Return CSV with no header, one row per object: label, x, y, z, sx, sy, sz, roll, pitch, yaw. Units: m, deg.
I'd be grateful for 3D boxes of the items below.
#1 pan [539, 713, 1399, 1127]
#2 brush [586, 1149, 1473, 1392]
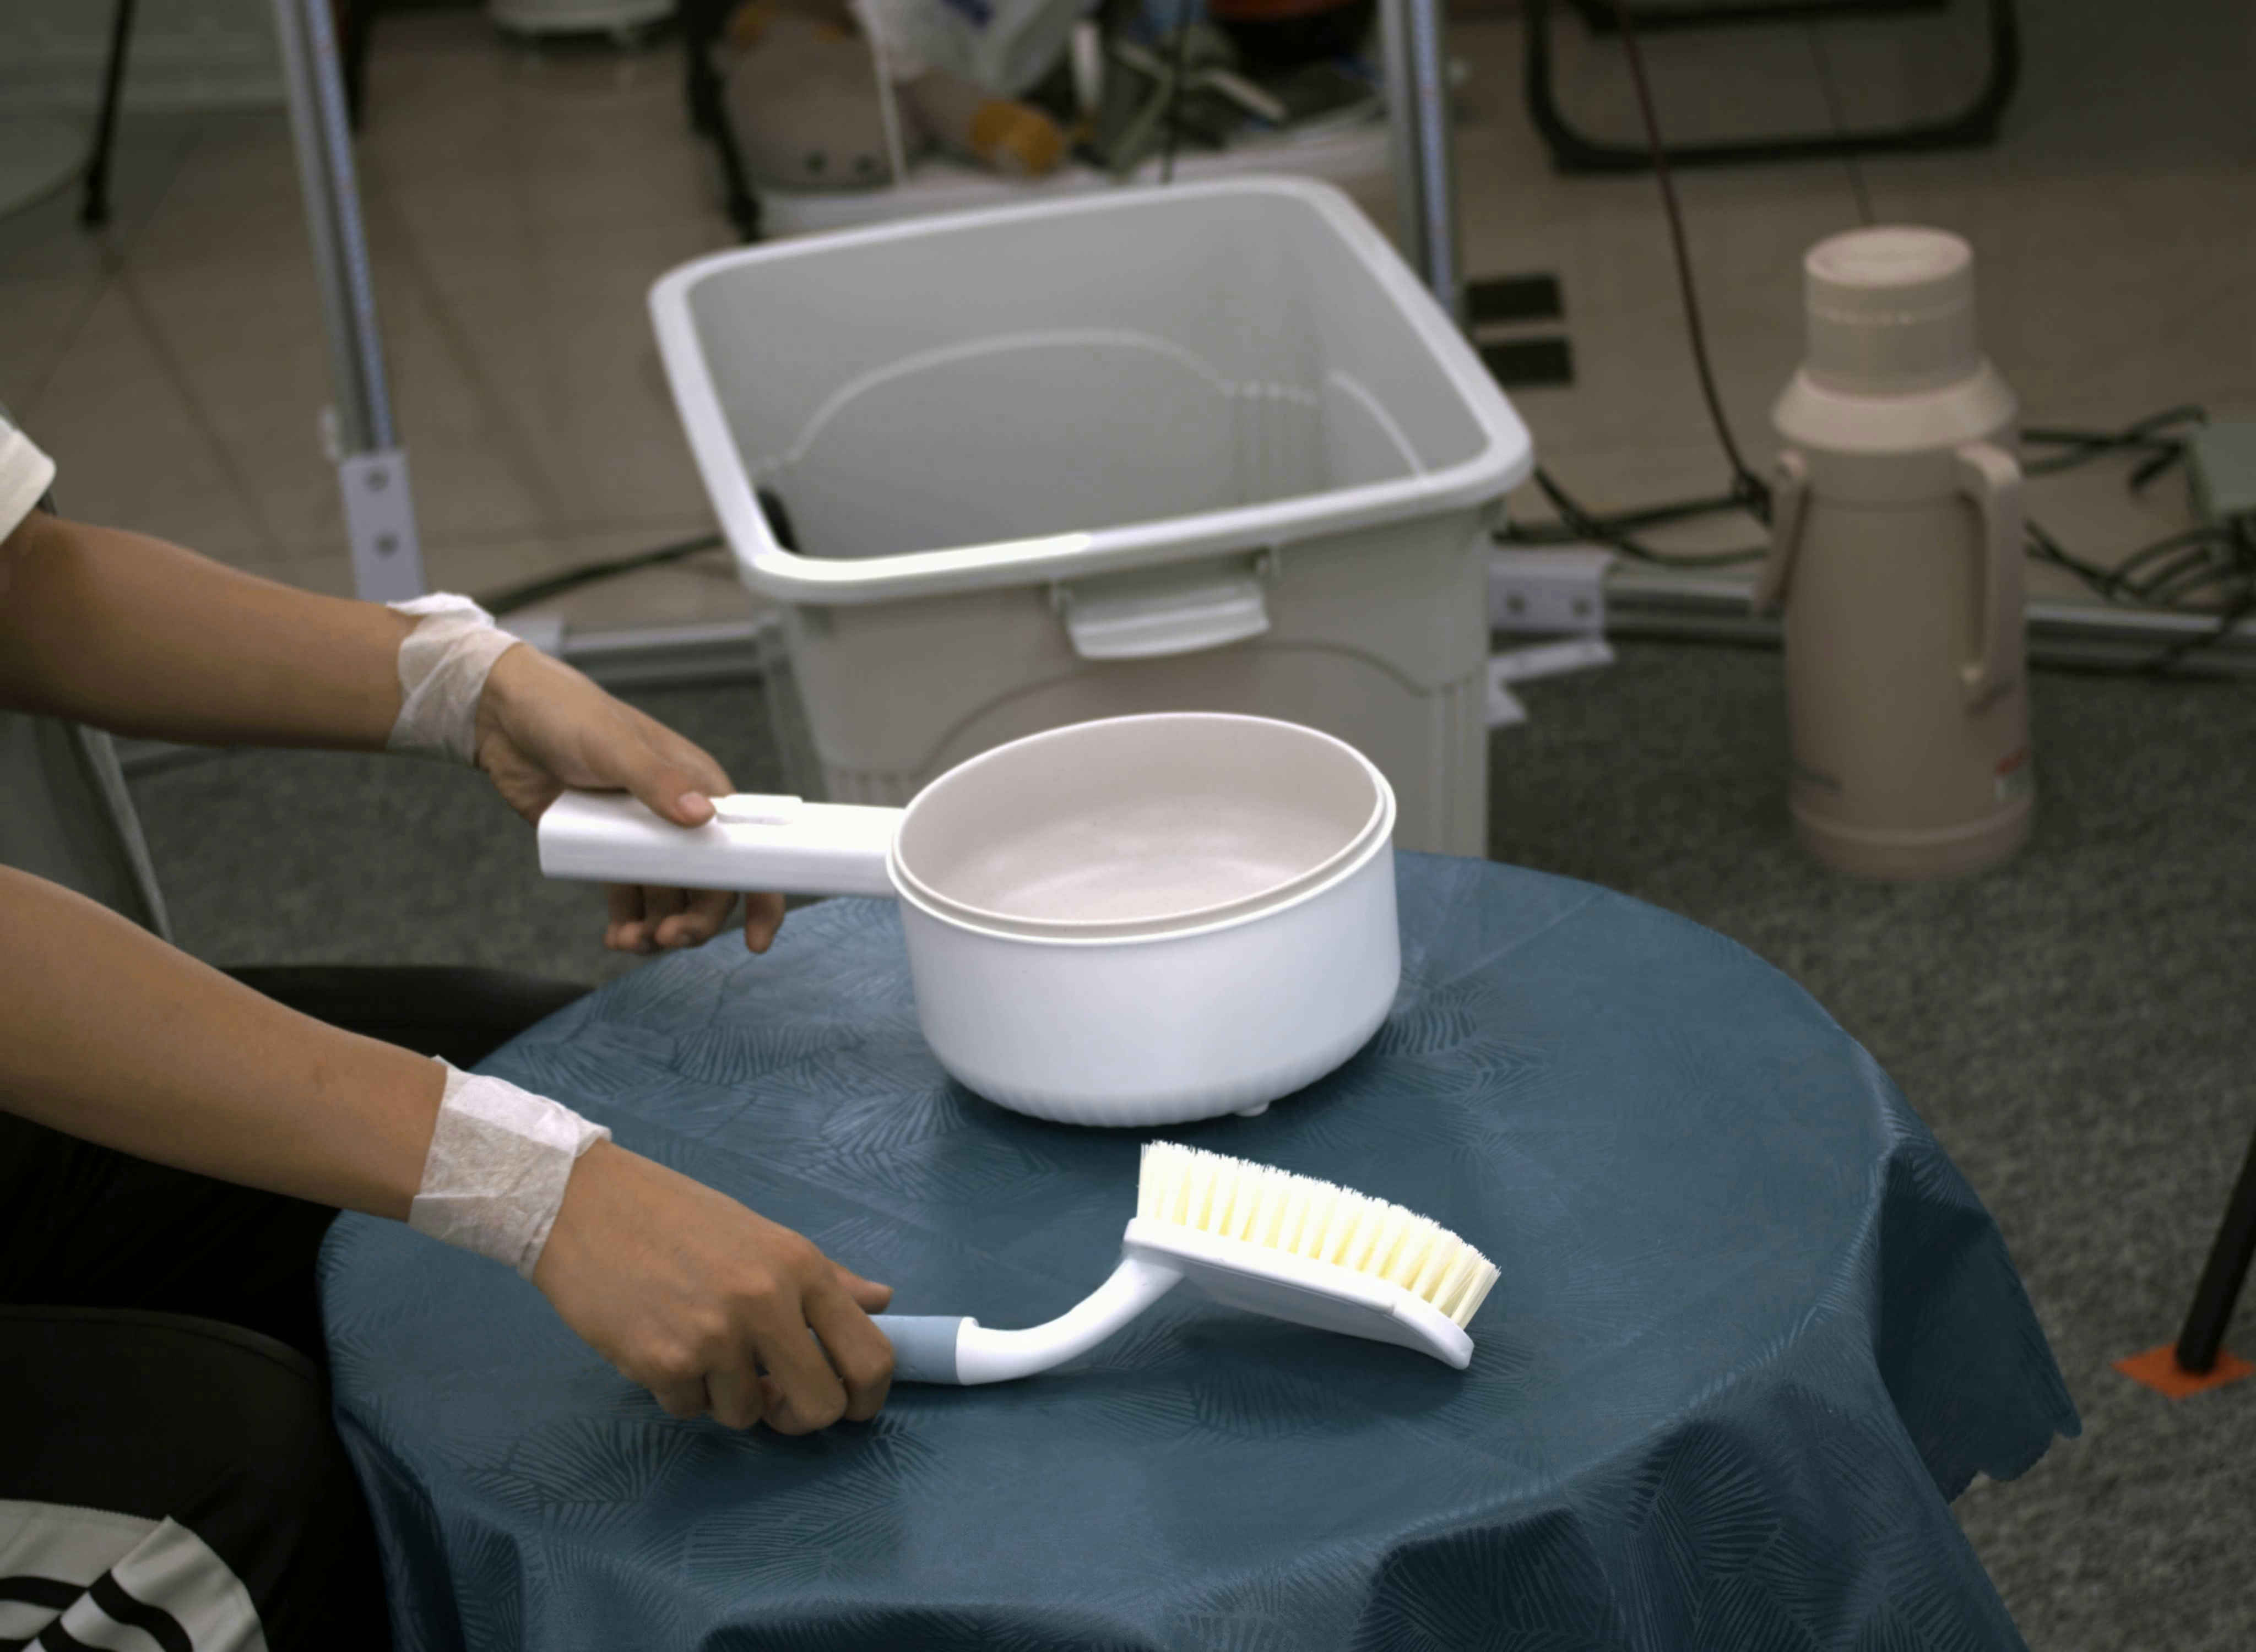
pan,-0.064,0.038,2.264,0.354,0.104,0.198,2,27,19
brush,-0.037,0.151,2.036,0.325,0.084,0.083,1,32,13
